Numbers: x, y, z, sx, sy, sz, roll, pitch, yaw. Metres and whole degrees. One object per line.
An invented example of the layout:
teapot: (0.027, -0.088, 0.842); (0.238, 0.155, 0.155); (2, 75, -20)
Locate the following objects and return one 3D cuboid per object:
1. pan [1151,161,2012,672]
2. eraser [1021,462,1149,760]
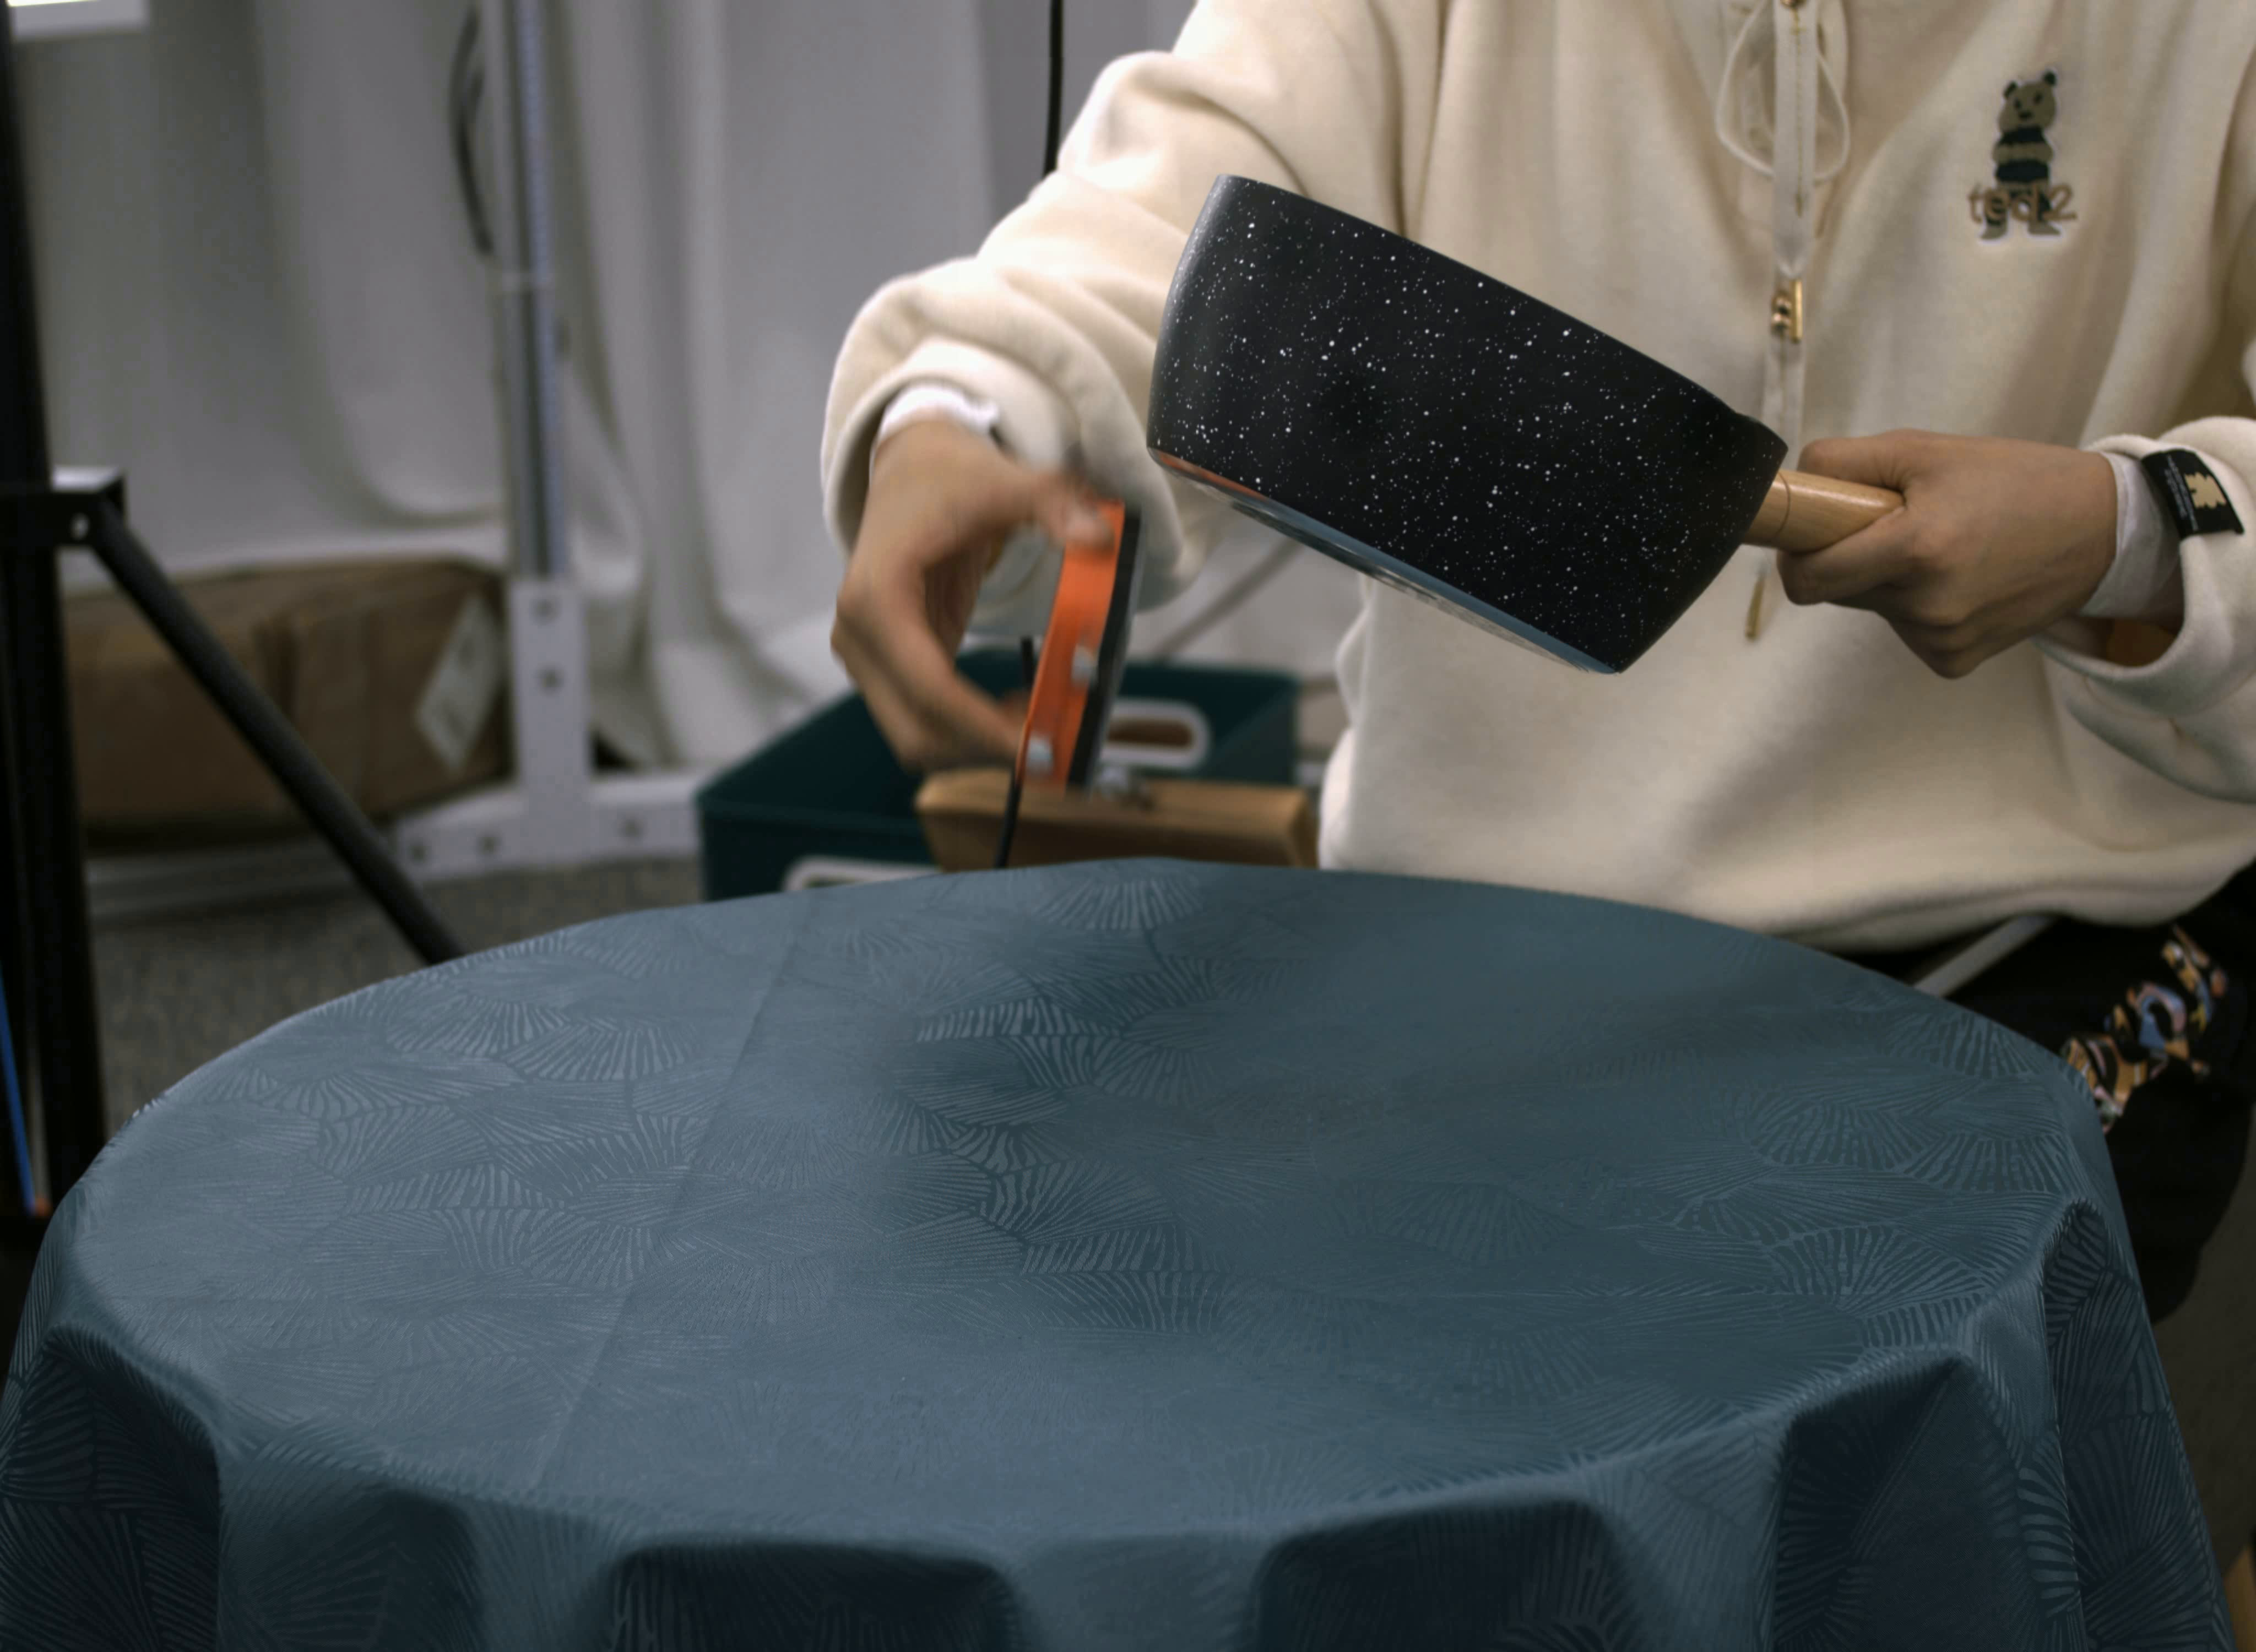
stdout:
pan: (0.147, -0.100, 1.594); (0.333, 0.108, 0.212); (22, 3, -45)
eraser: (-0.012, -0.063, 1.549); (0.023, 0.059, 0.108); (12, 21, -1)
